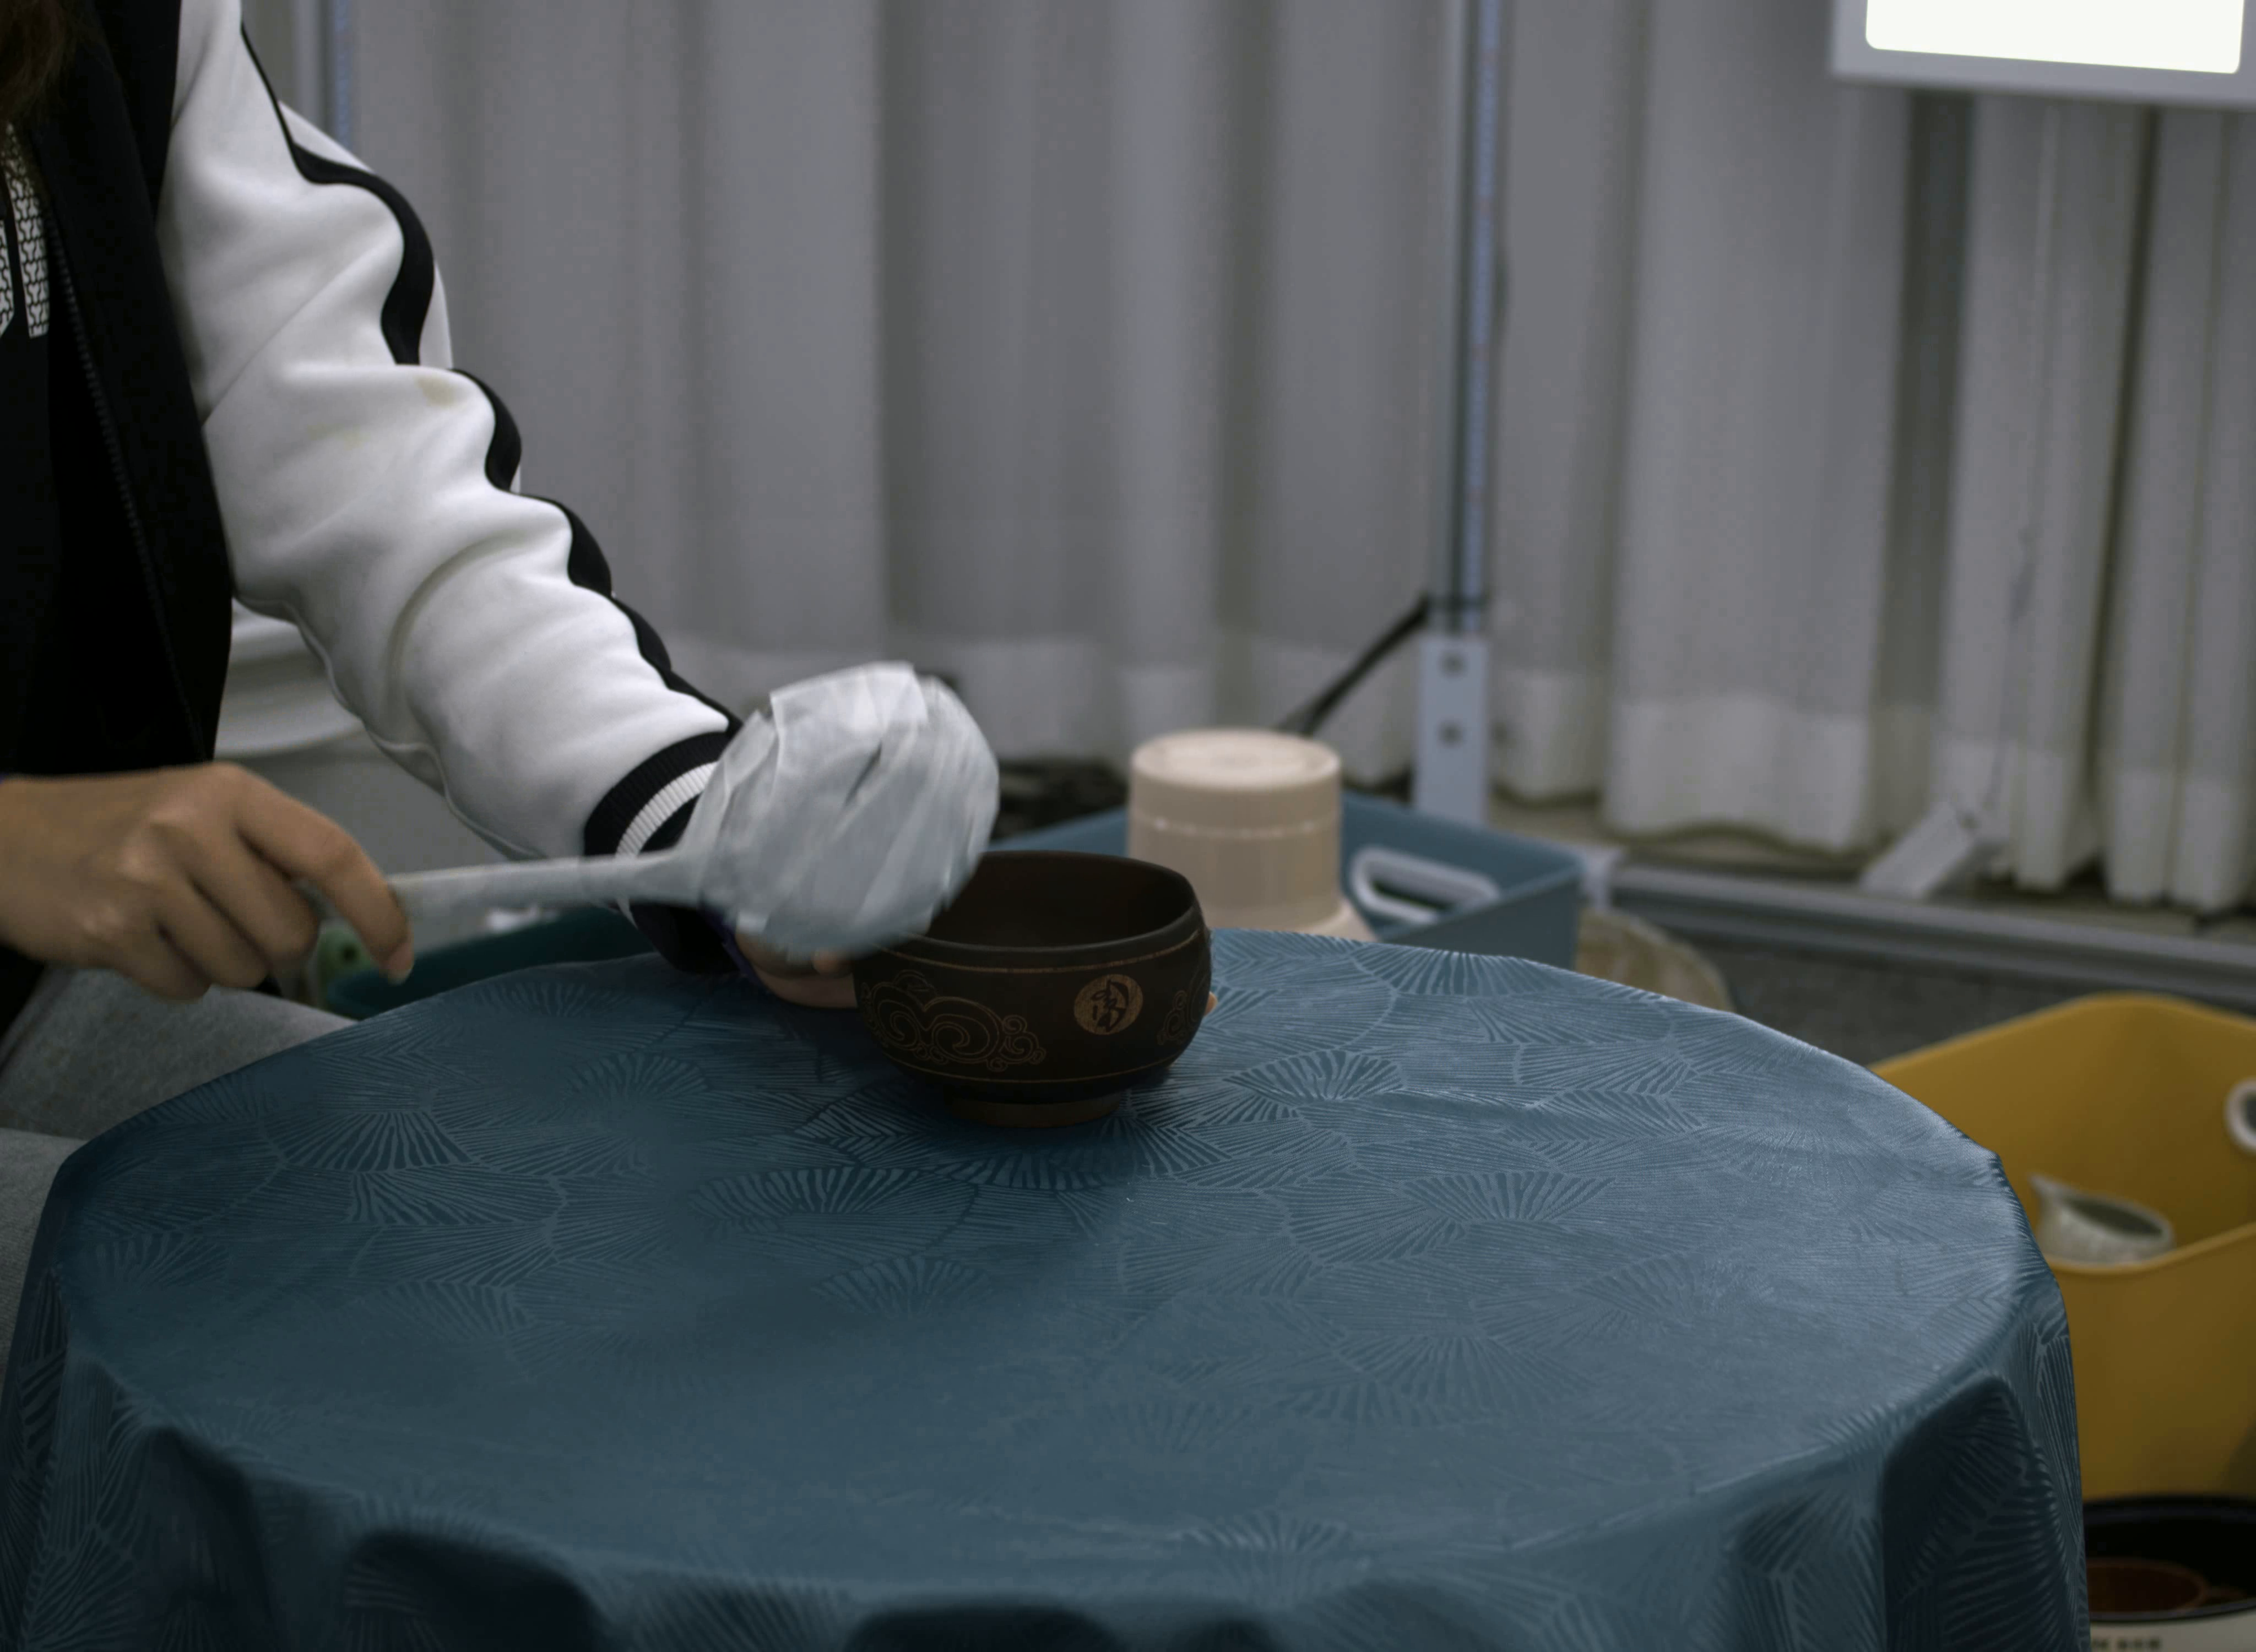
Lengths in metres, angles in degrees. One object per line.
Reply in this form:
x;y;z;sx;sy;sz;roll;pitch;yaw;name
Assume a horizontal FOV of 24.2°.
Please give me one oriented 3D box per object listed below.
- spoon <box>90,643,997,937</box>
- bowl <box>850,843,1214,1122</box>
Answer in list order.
-0.175;0.001;1.563;0.275;0.102;0.059;-5;38;17;spoon
-0.031;0.054;1.694;0.117;0.070;0.117;1;16;0;bowl
